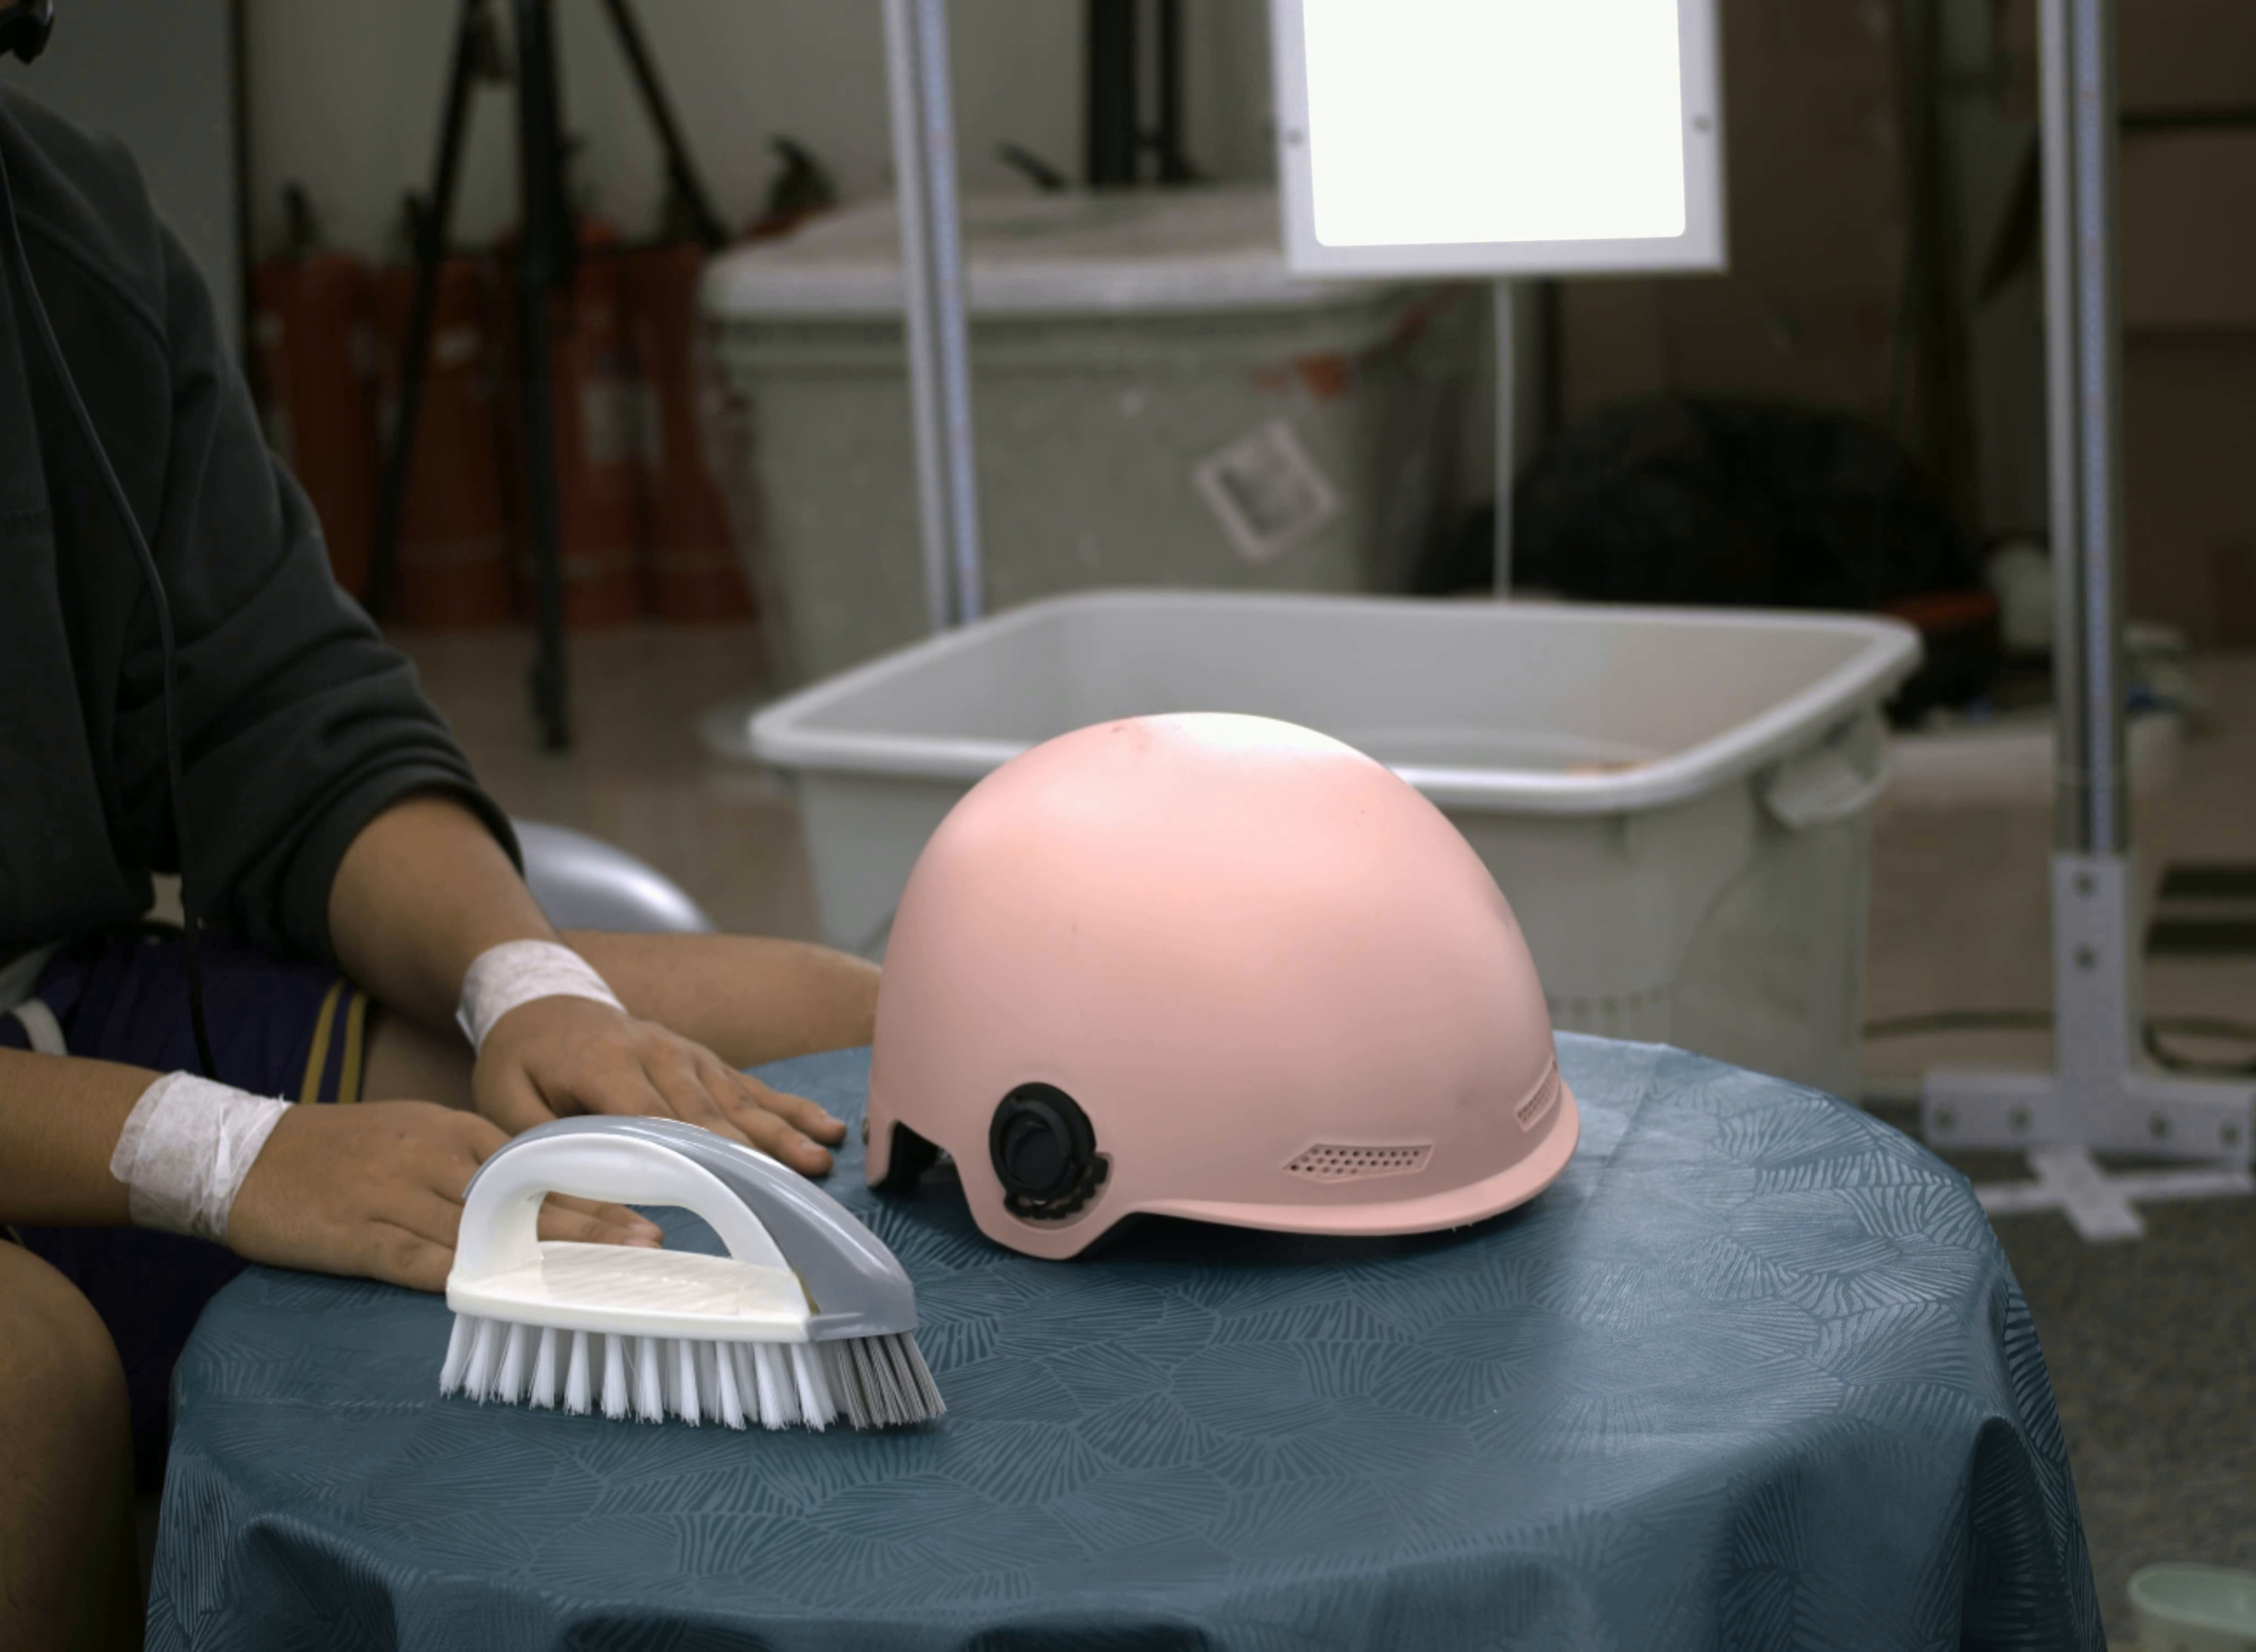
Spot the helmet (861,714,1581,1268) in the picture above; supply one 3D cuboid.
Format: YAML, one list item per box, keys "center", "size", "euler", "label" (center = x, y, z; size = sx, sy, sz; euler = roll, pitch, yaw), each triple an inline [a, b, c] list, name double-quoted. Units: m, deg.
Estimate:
- center: [0.031, 0.046, 1.896]
  size: [0.228, 0.159, 0.271]
  euler: [-16, 21, -40]
  label: "helmet"

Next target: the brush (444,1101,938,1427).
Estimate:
- center: [-0.136, 0.135, 1.721]
  size: [0.179, 0.094, 0.060]
  euler: [6, 18, 32]
  label: "brush"
